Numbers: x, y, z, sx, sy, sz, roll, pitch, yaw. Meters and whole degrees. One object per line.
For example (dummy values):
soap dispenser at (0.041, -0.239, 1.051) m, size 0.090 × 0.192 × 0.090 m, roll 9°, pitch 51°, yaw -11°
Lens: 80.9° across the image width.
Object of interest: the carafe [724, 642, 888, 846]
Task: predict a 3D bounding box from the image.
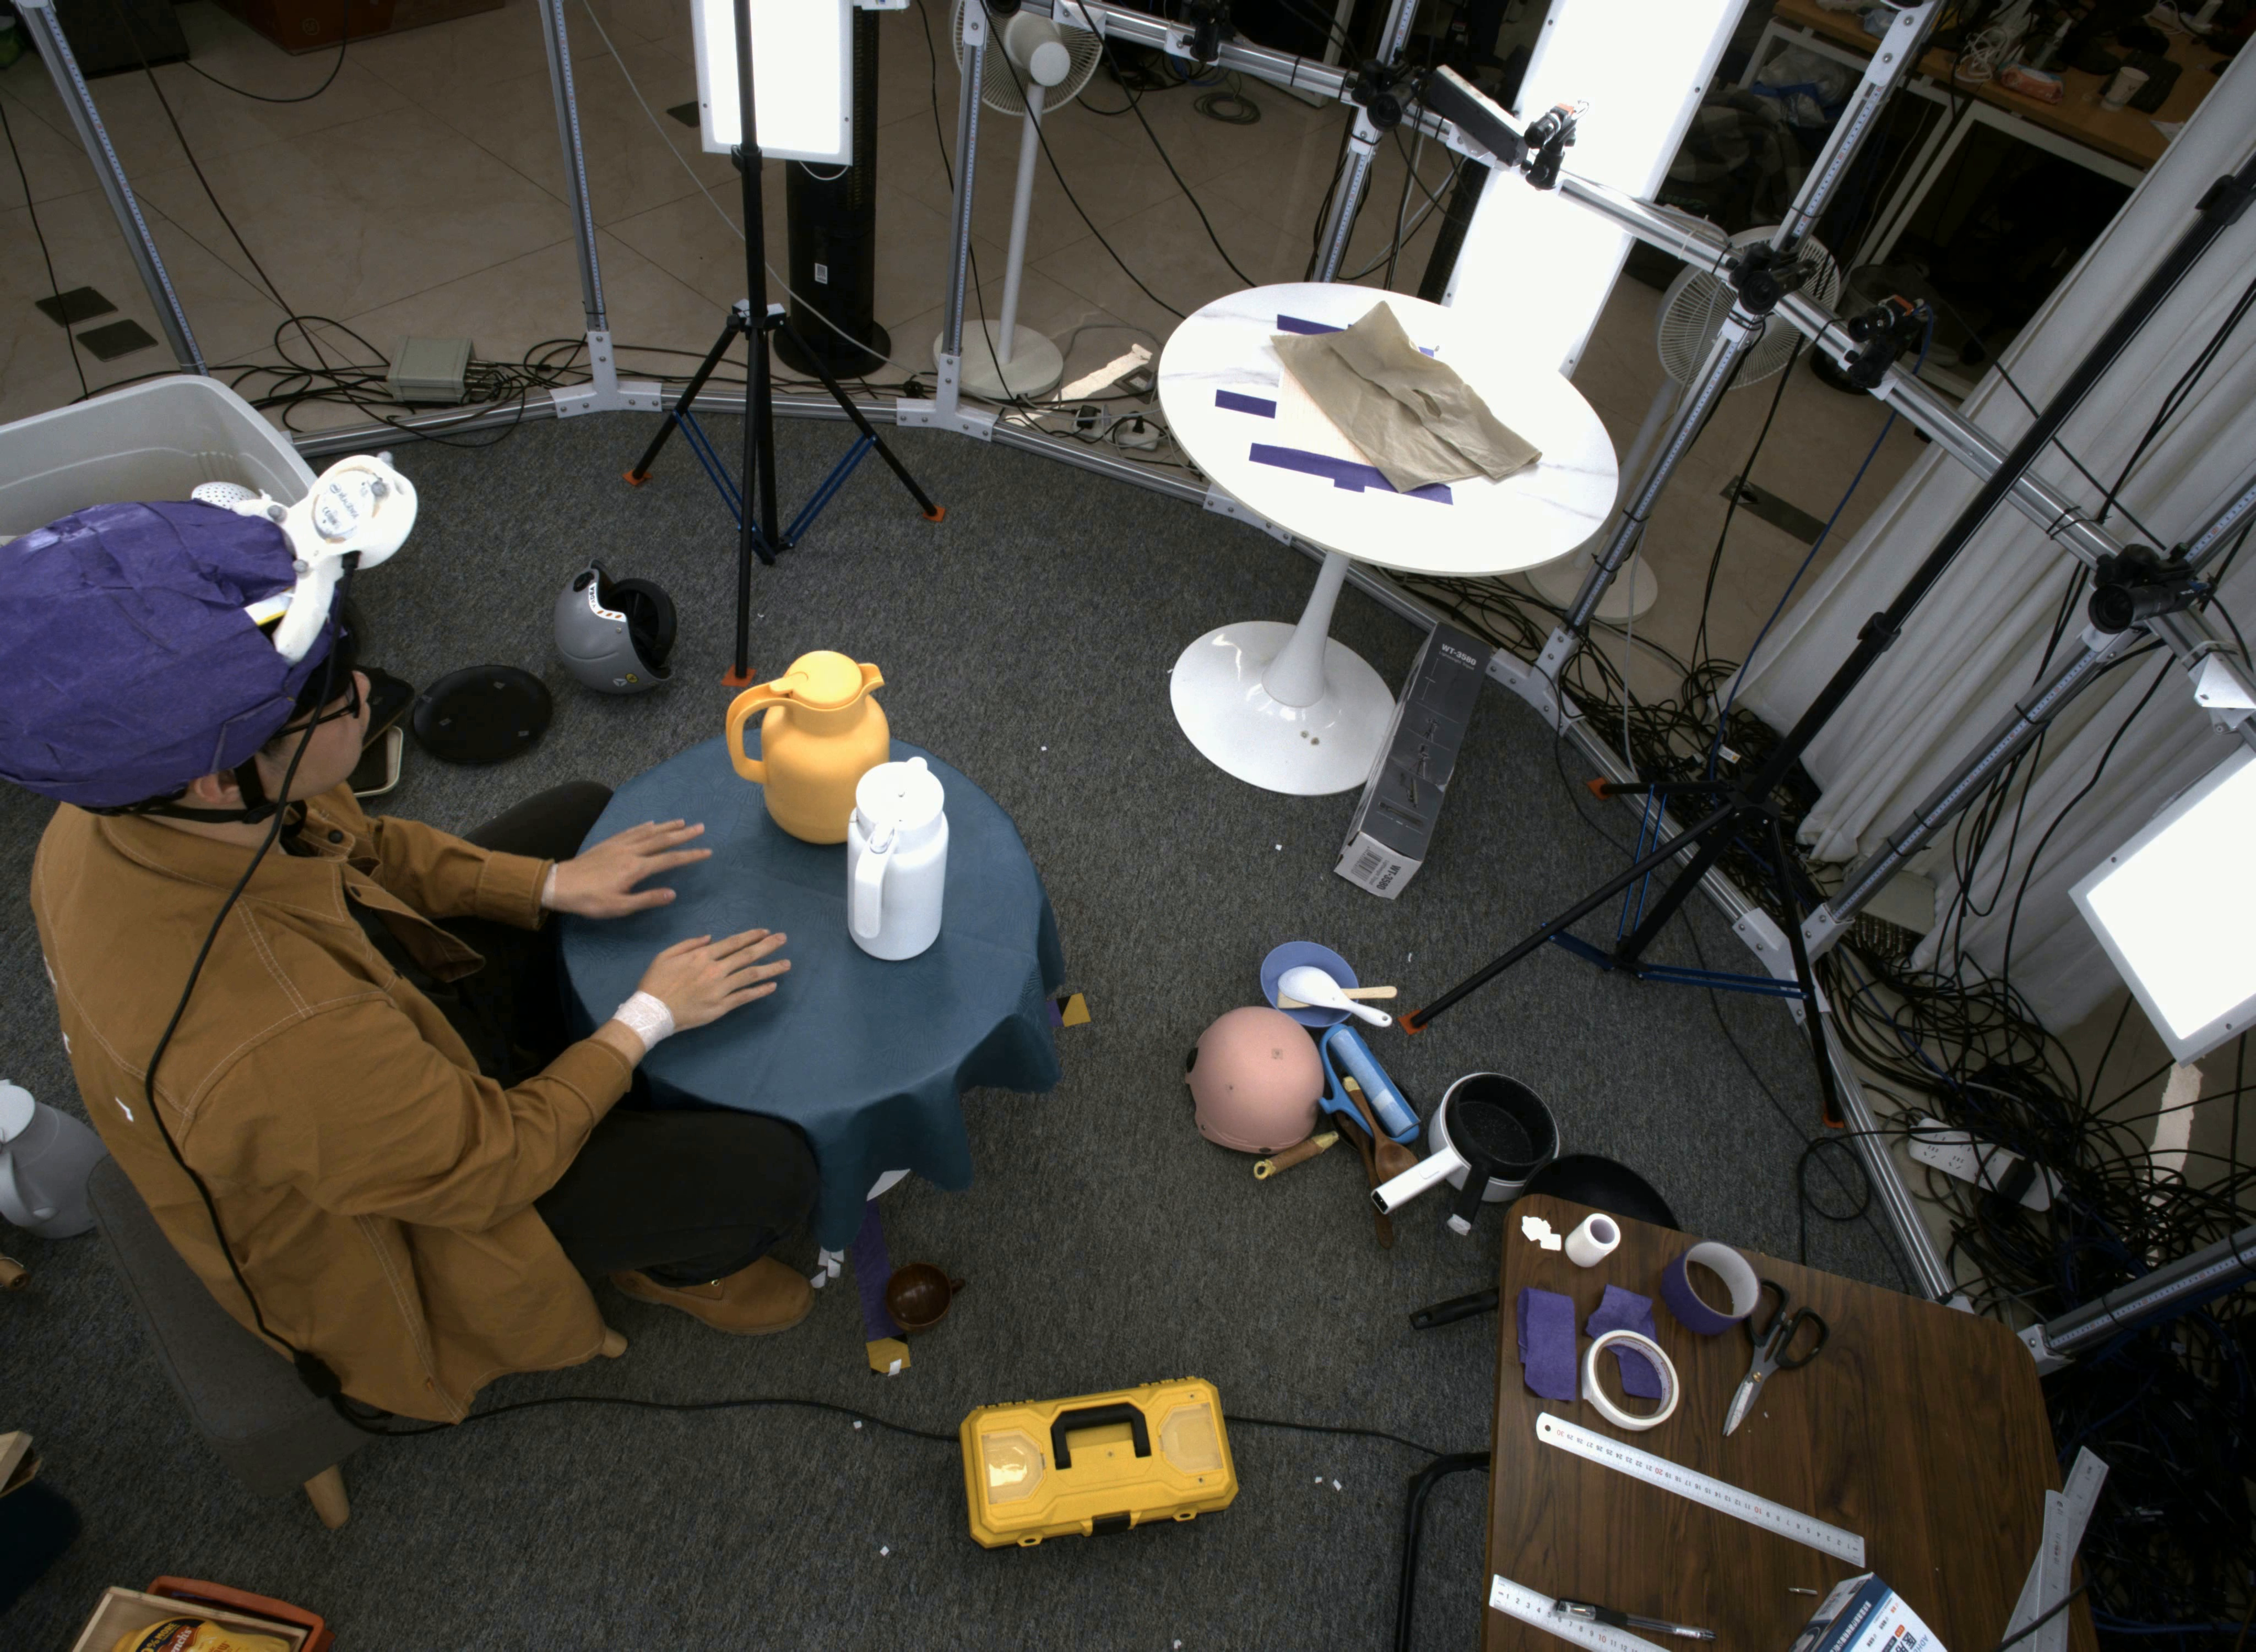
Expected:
carafe at (-0.404, -0.106, 1.635) m, size 0.203 × 0.266 × 0.159 m, roll -10°, pitch 52°, yaw -22°

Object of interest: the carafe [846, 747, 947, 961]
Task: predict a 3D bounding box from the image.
carafe at (-0.281, 0.054, 1.545) m, size 0.123 × 0.274 × 0.171 m, roll 17°, pitch 51°, yaw -1°
